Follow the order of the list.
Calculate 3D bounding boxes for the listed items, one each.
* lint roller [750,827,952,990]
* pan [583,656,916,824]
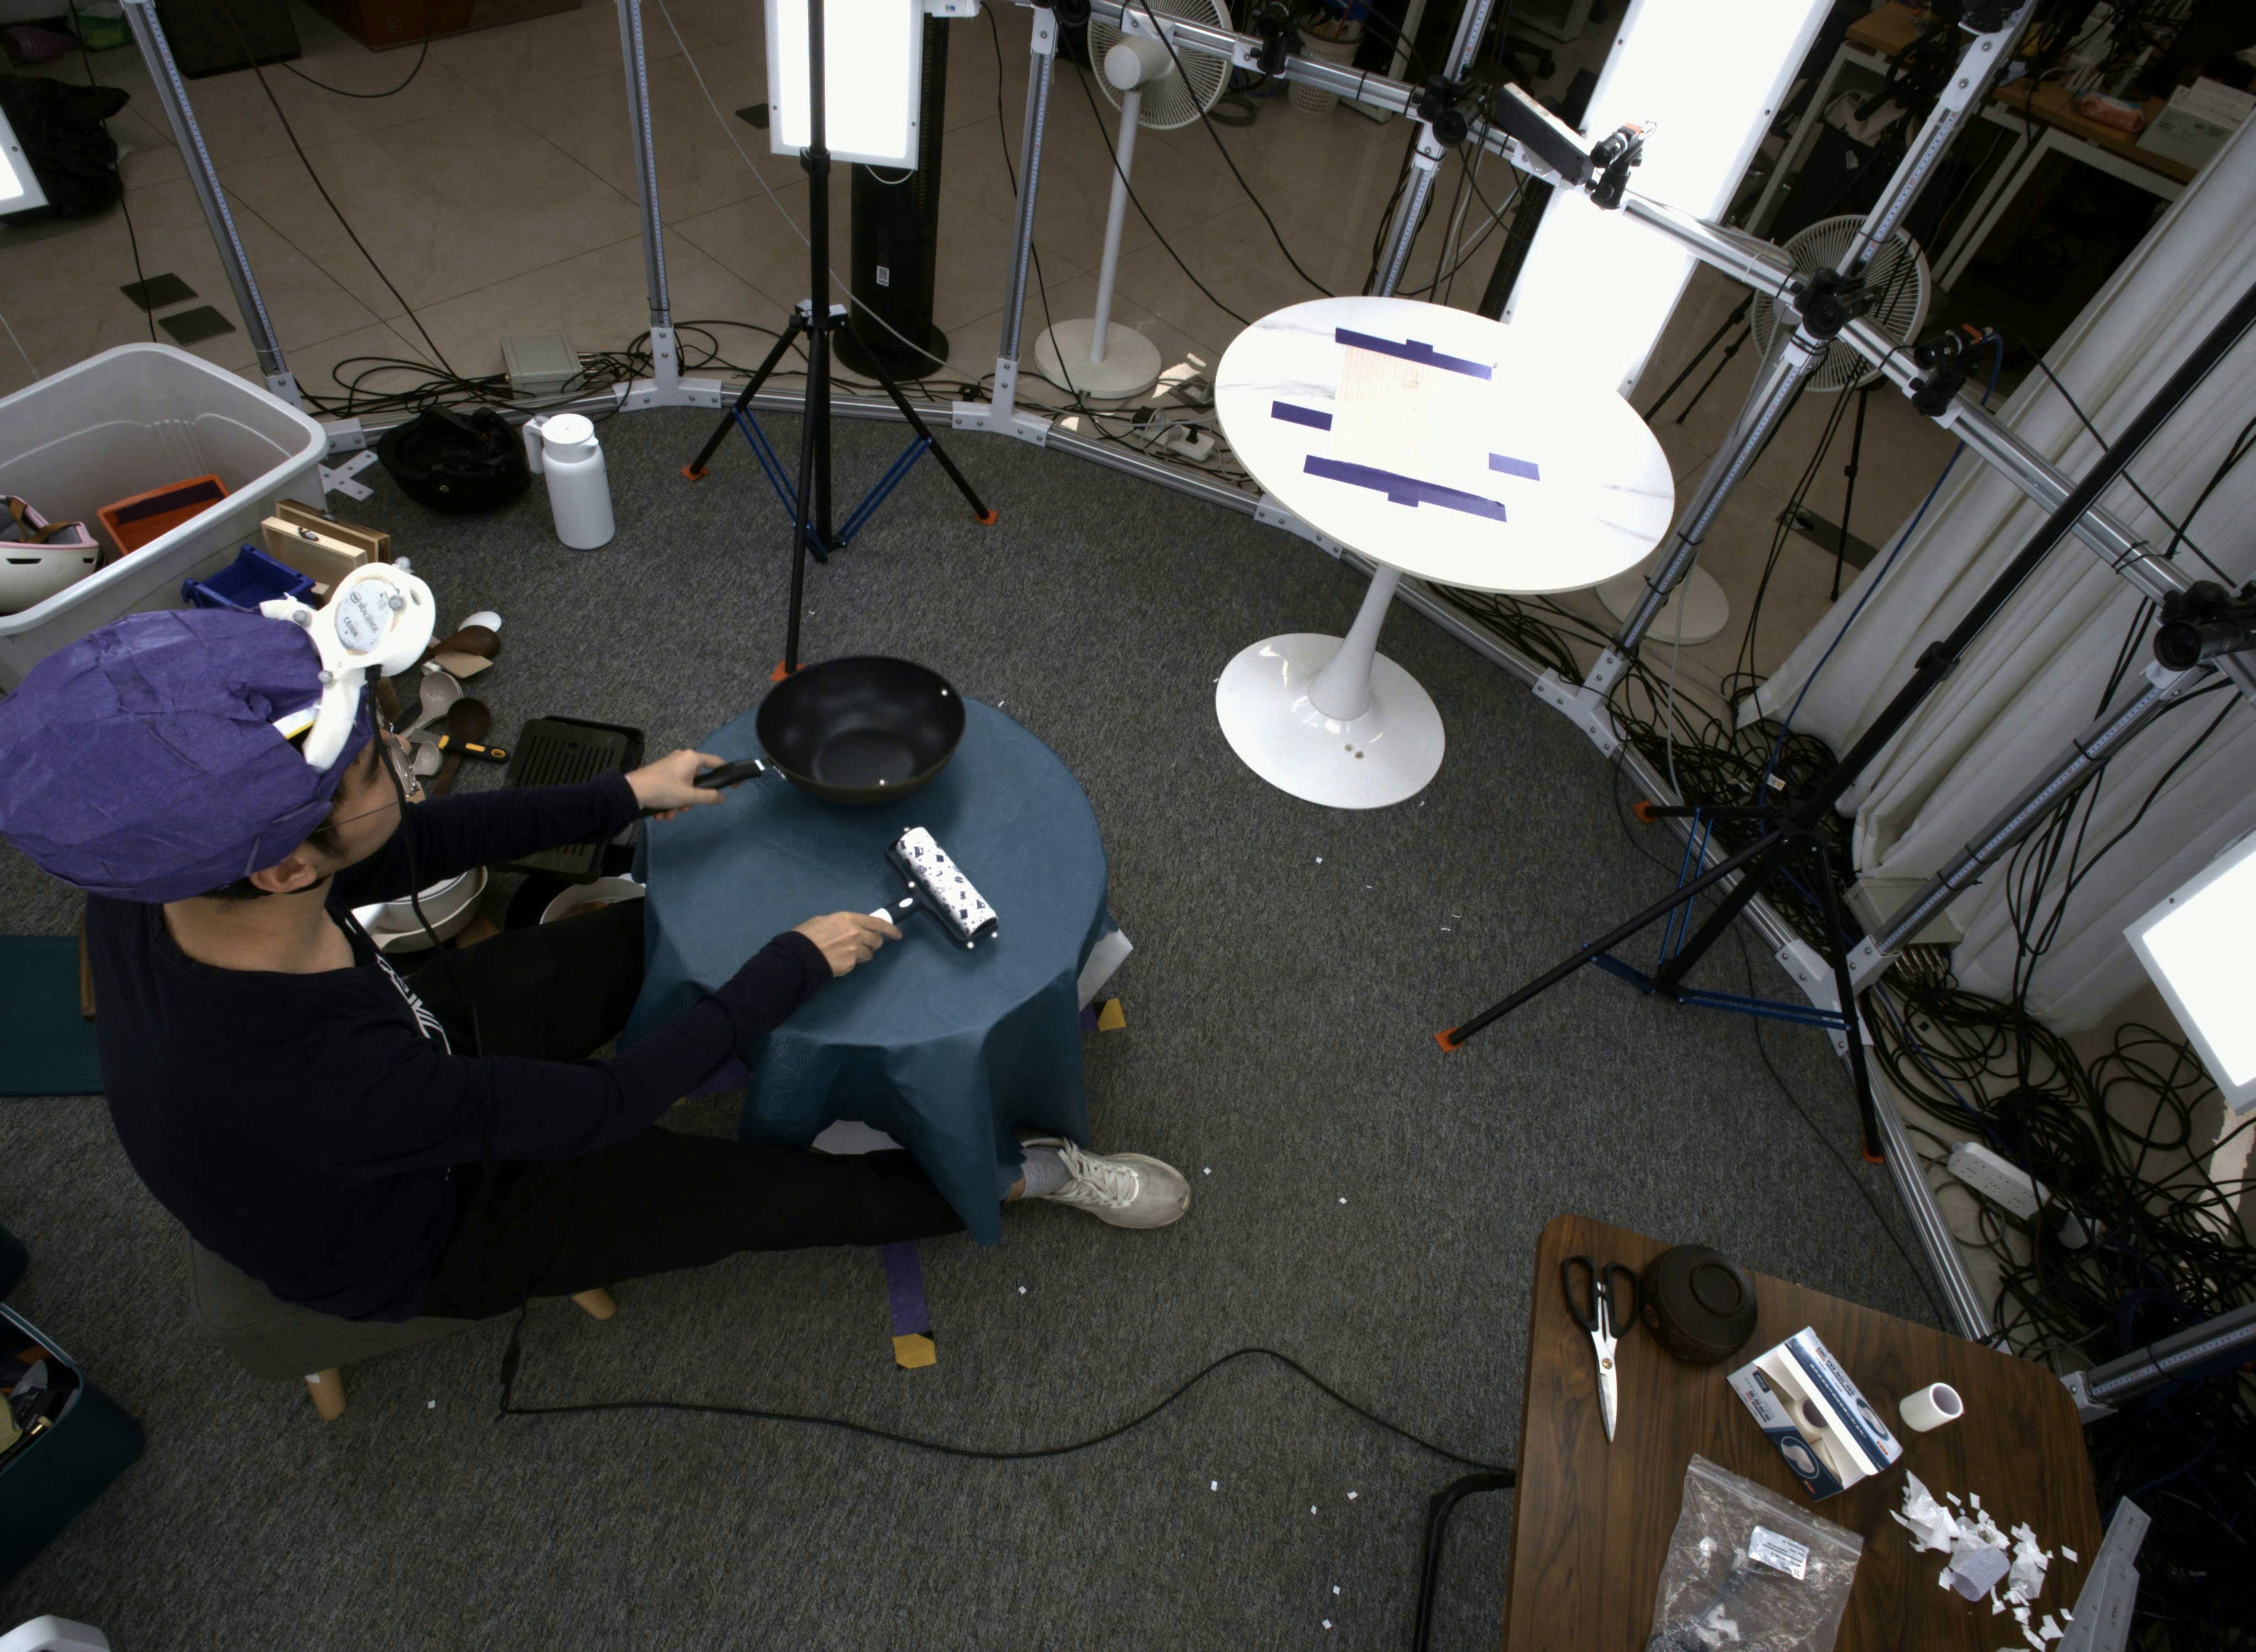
[{"bbox_3d":[-0.360,0.122,1.607,0.247,0.051,0.174,-36,76,-33],"label":"lint roller"},{"bbox_3d":[-0.492,-0.077,1.700,0.465,0.089,0.278,-29,53,-30],"label":"pan"}]
